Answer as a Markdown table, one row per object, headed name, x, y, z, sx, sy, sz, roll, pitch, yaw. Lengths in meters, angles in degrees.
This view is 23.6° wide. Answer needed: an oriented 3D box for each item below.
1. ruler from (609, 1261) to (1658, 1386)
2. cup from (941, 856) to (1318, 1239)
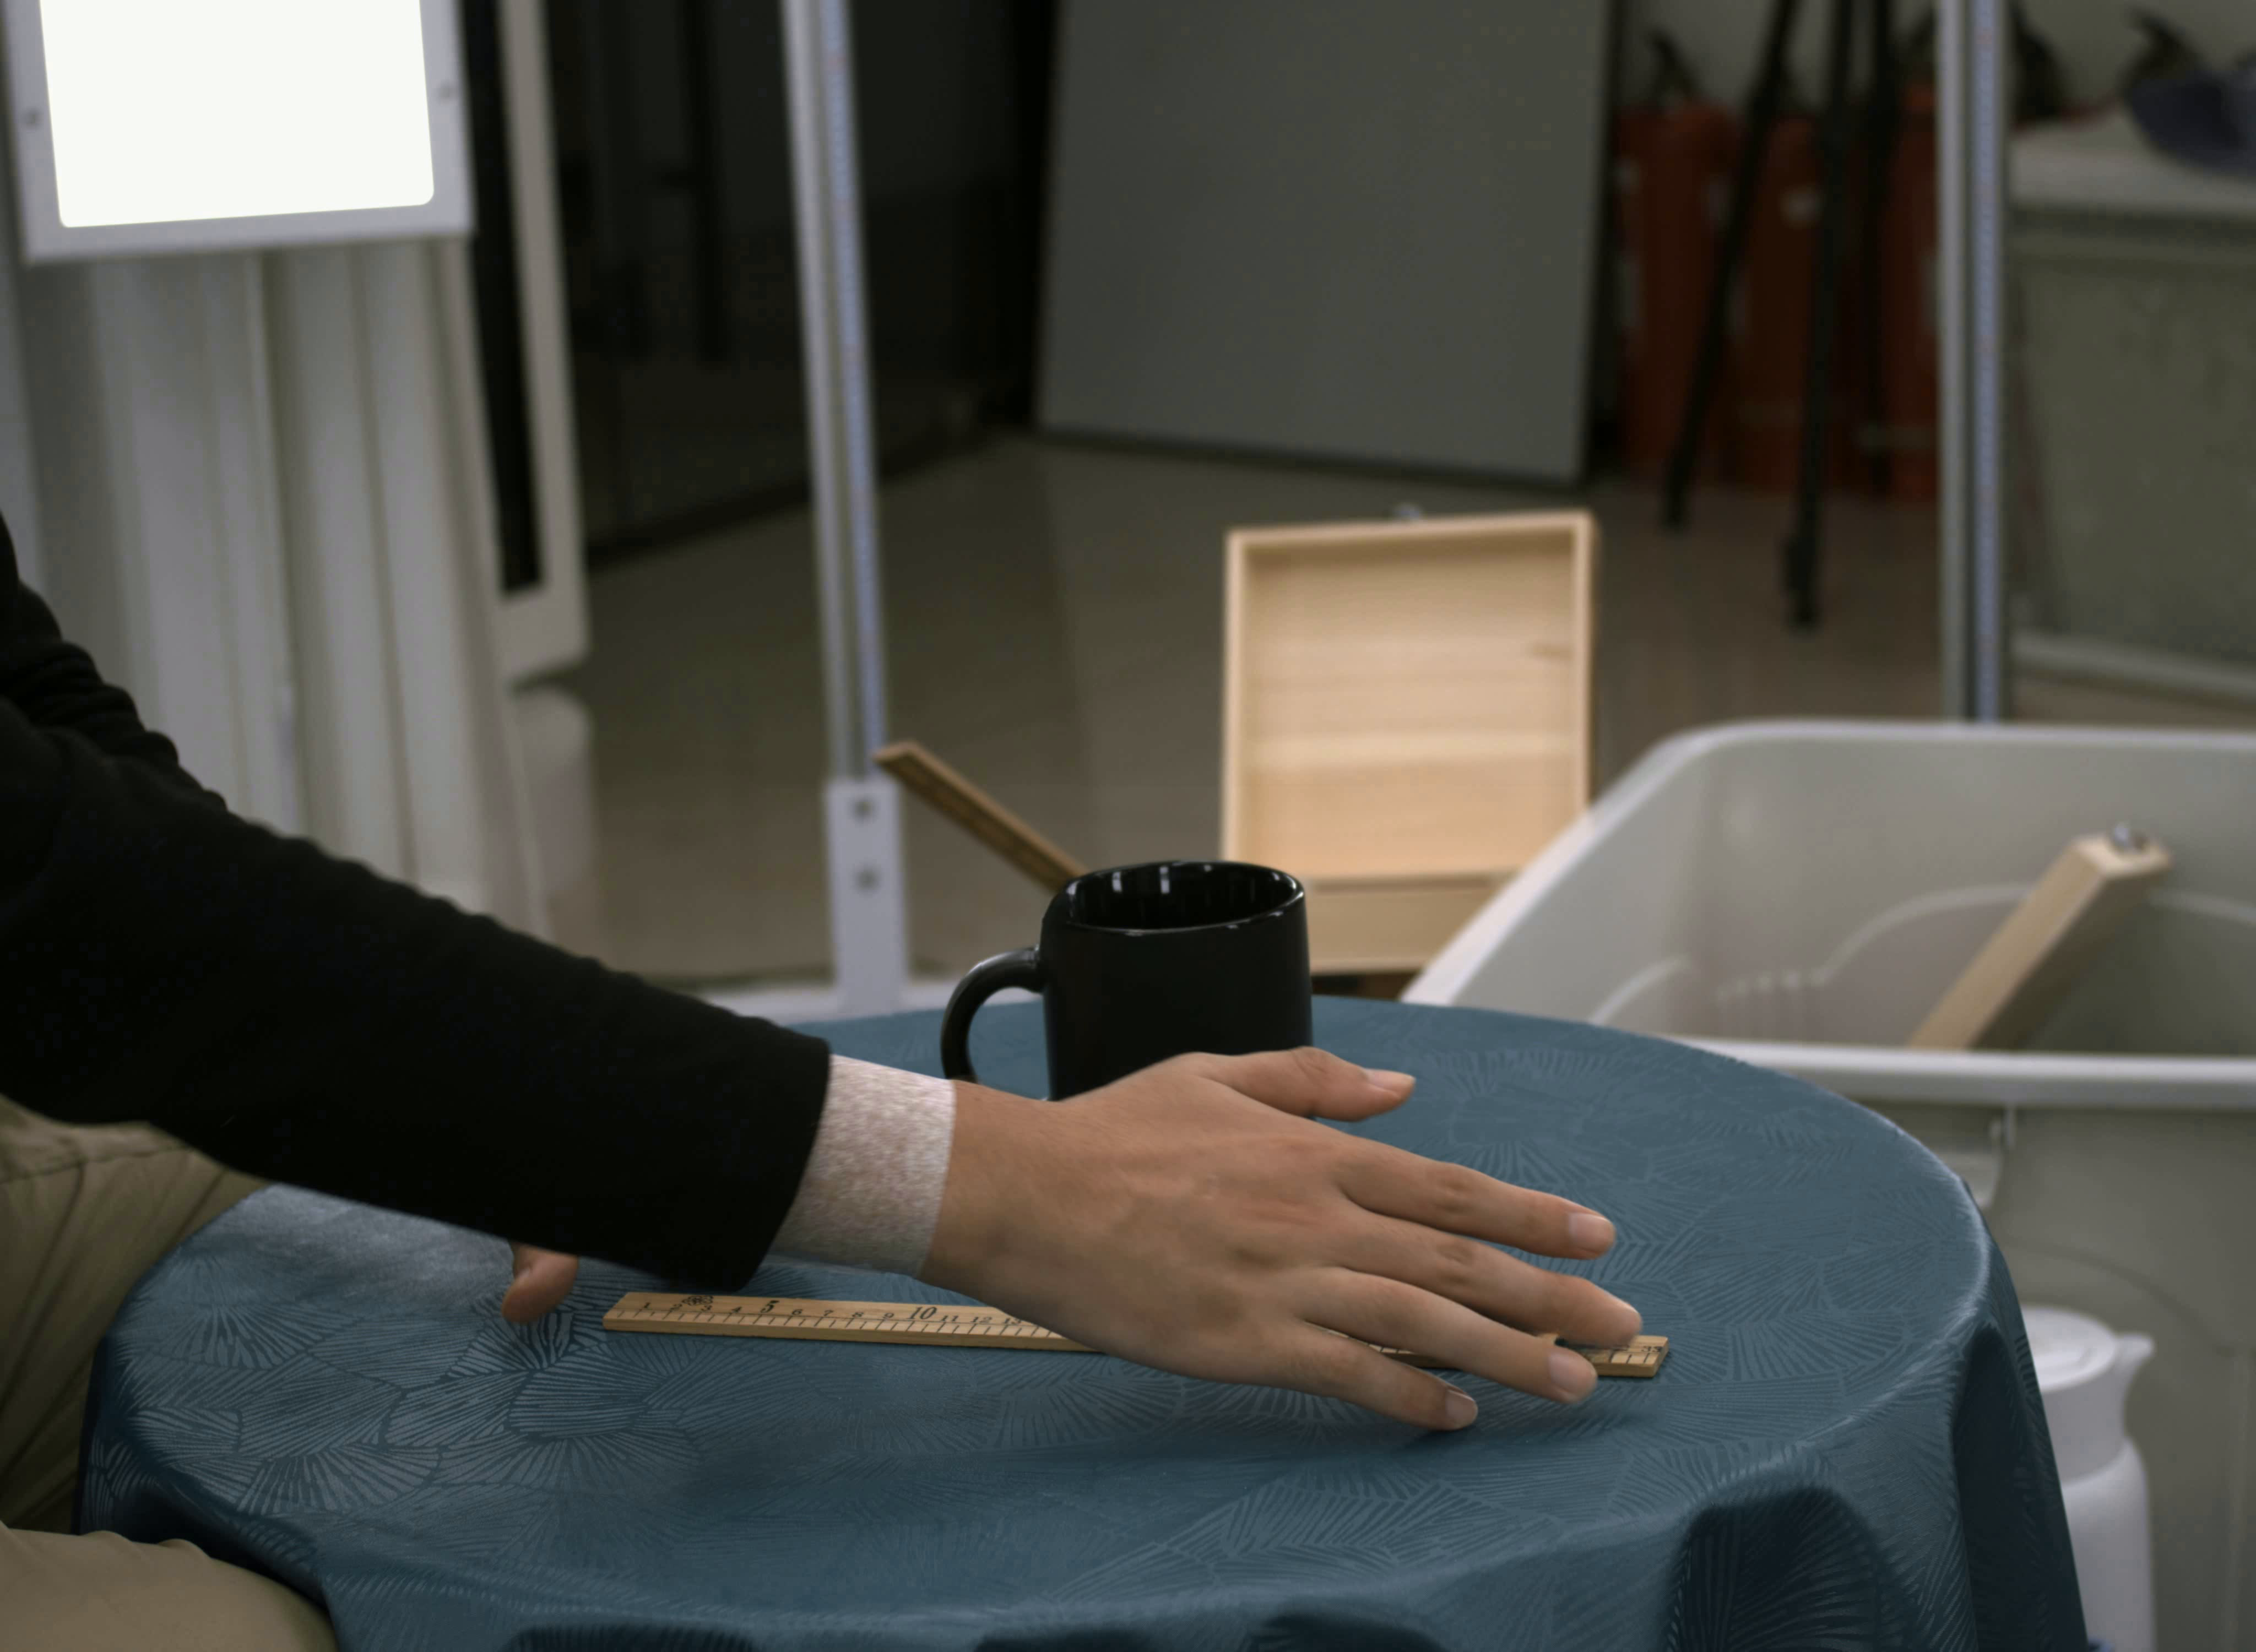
| name | x | y | z | sx | sy | sz | roll | pitch | yaw |
| --- | --- | --- | --- | --- | --- | --- | --- | --- | --- |
| ruler | -0.002 | 0.149 | 1.630 | 0.331 | 0.022 | 0.027 | 2 | 10 | 20 |
| cup | -0.001 | 0.072 | 1.755 | 0.122 | 0.106 | 0.088 | -3 | 15 | 9 |
